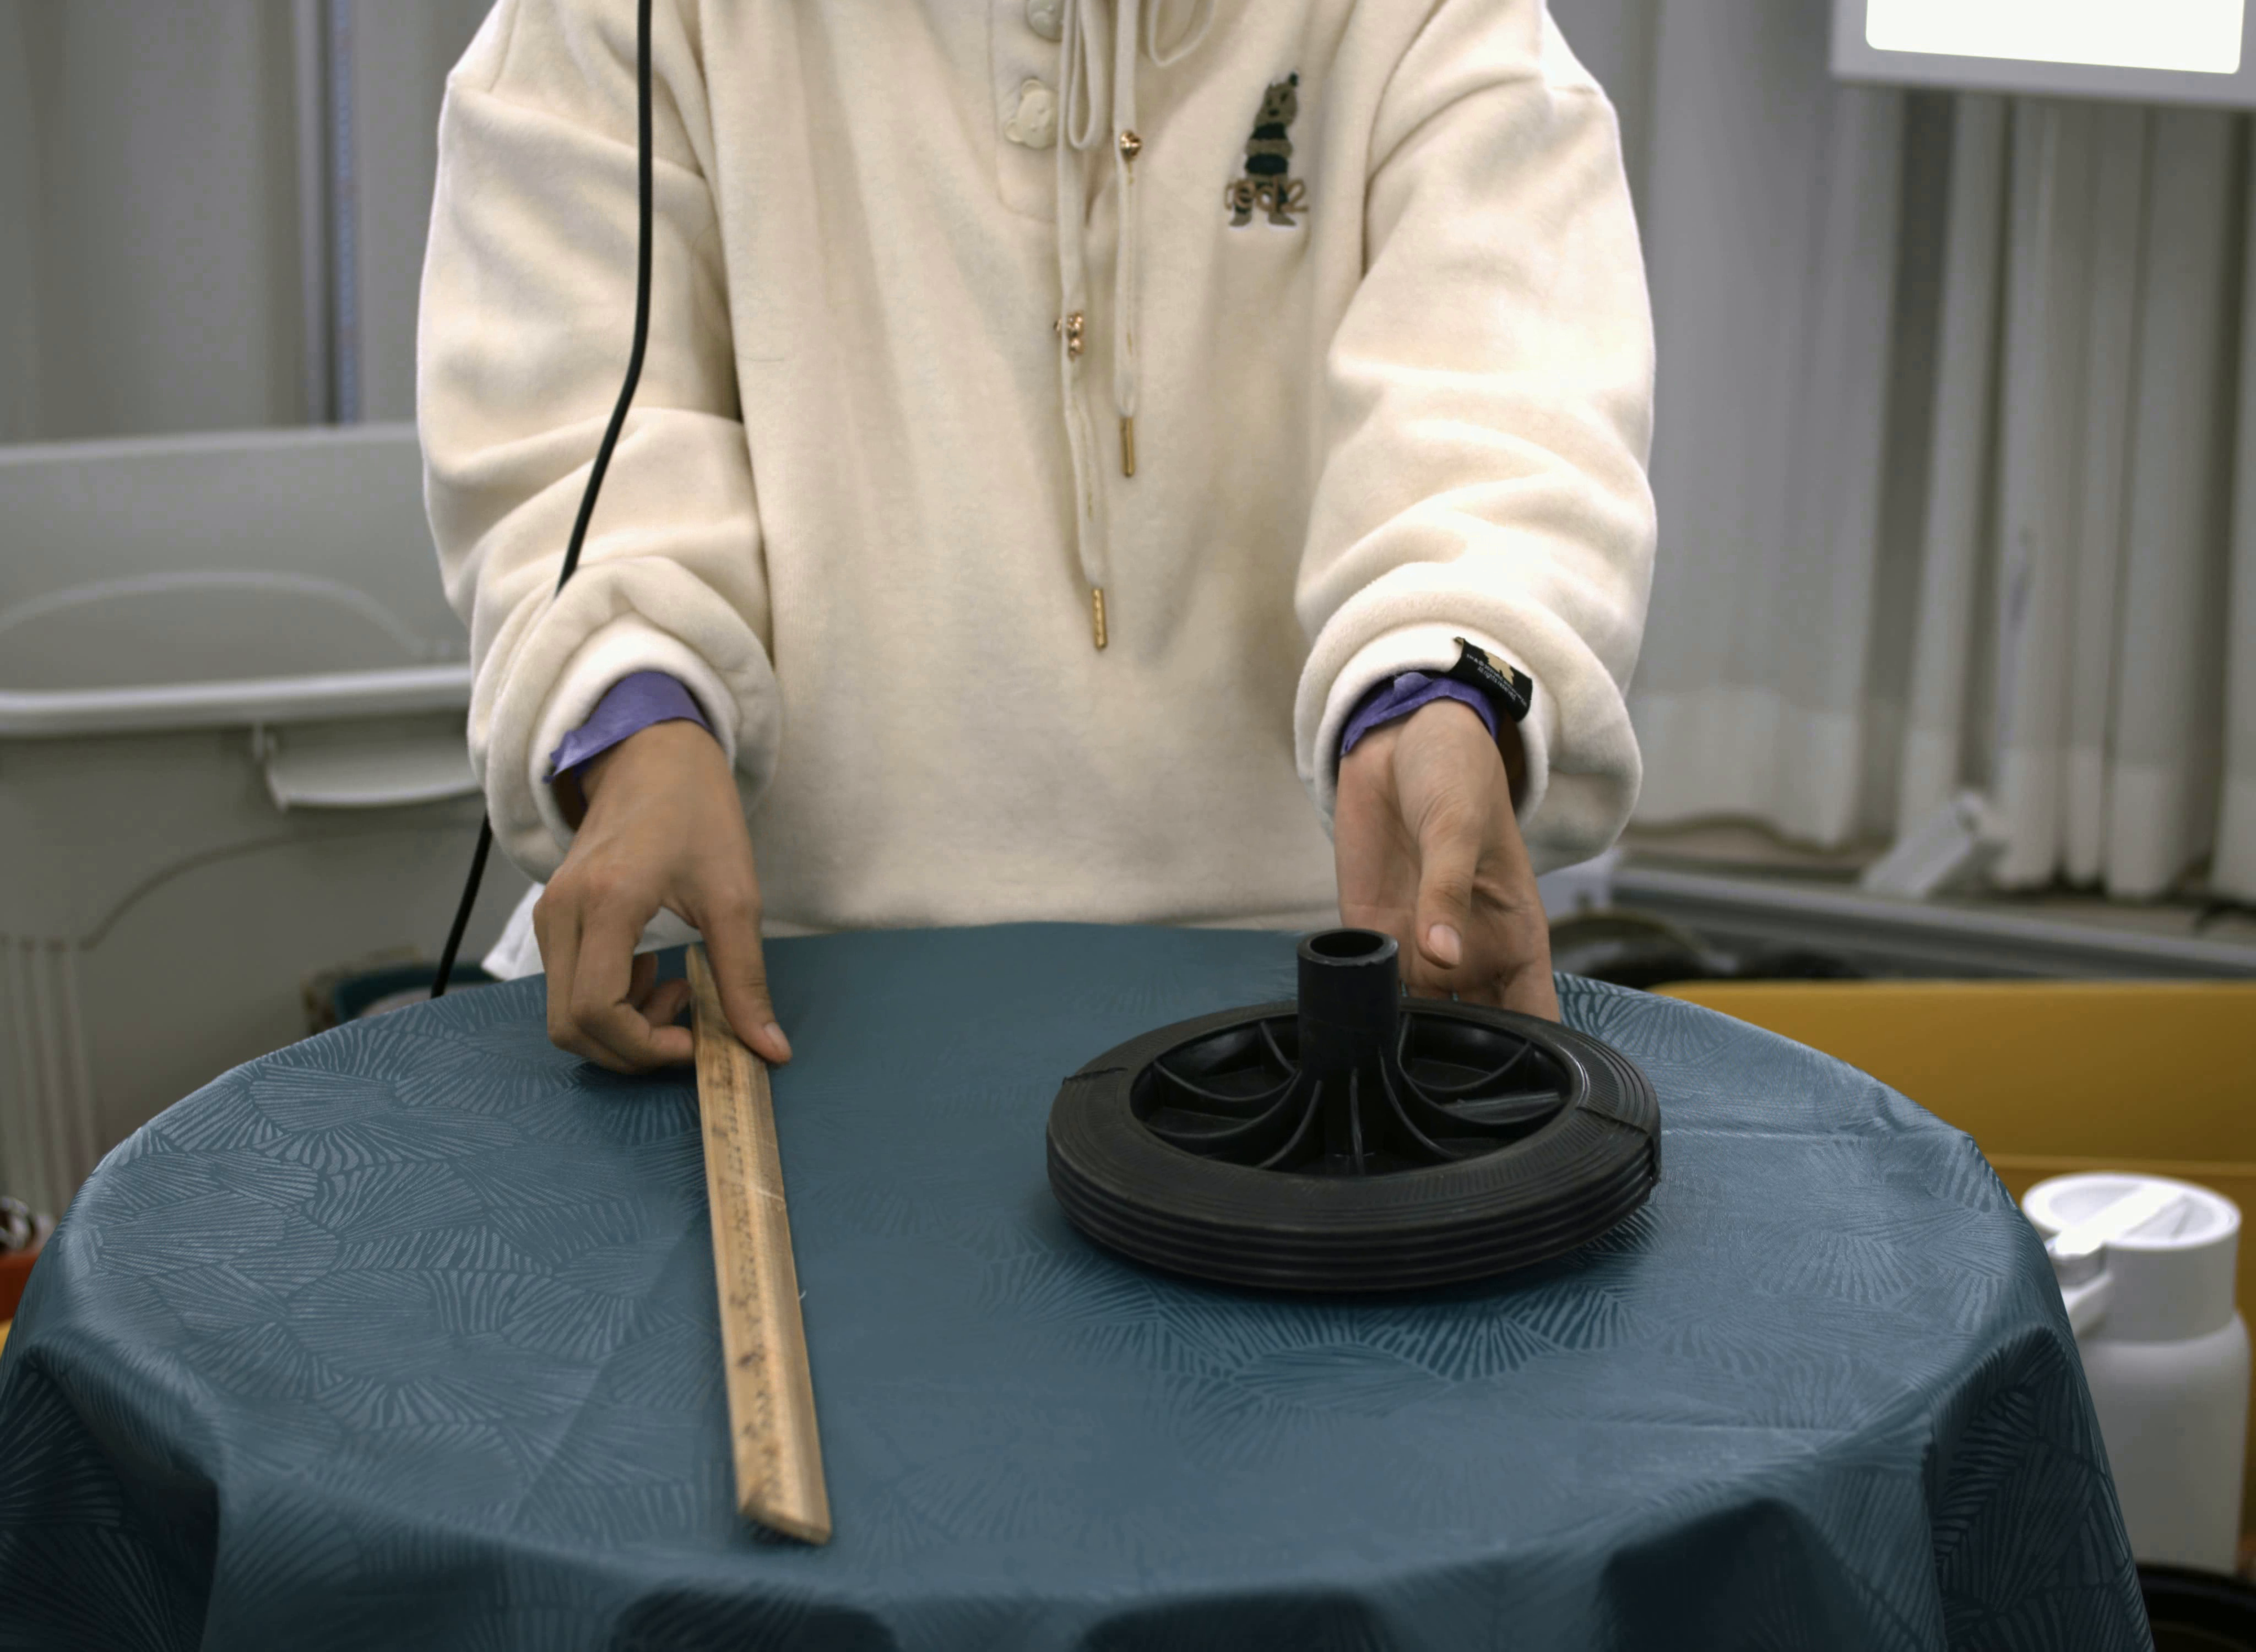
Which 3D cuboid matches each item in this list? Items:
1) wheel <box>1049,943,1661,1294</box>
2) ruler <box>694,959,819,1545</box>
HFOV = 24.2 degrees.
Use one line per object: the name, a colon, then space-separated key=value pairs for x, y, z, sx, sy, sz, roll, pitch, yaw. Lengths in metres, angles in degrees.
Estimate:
wheel: x=0.069 y=0.077 z=1.600 sx=0.190 sy=0.080 sz=0.185 roll=-14 pitch=23 yaw=-32
ruler: x=-0.115 y=0.115 z=1.587 sx=0.027 sy=0.006 sz=0.497 roll=15 pitch=13 yaw=-9
